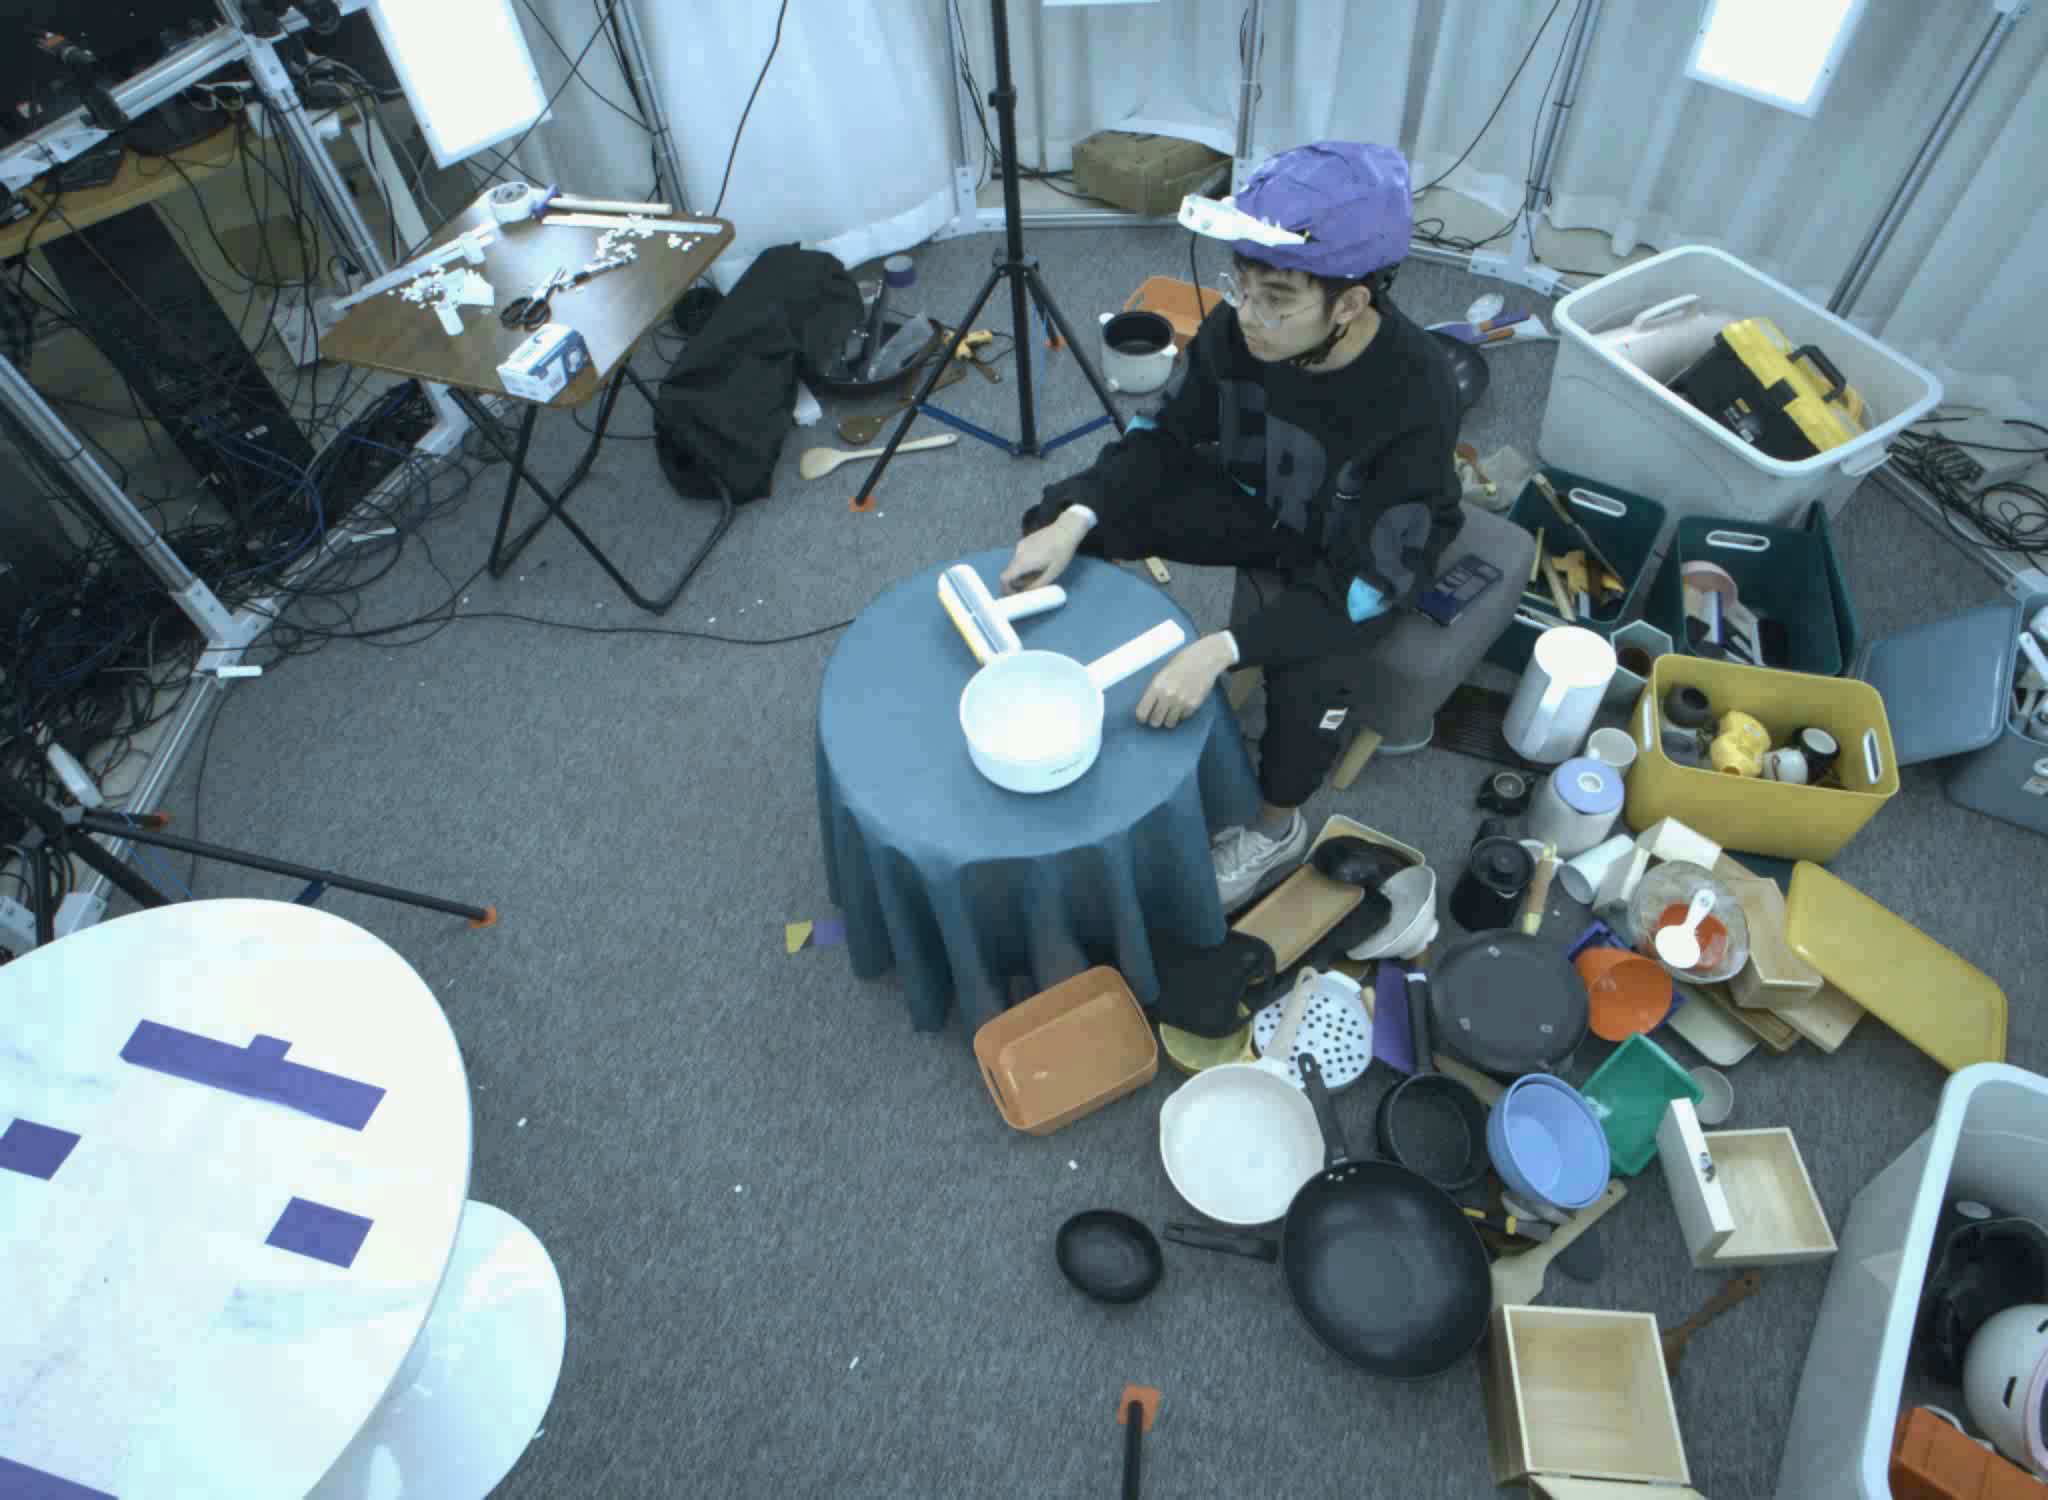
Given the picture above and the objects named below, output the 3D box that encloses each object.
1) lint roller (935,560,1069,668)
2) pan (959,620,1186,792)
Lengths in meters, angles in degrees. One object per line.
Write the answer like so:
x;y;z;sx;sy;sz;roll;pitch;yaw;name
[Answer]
-0.020;-0.225;1.902;0.194;0.075;0.190;-22;62;-15;lint roller
0.077;-0.072;1.769;0.357;0.103;0.197;-29;58;-18;pan
